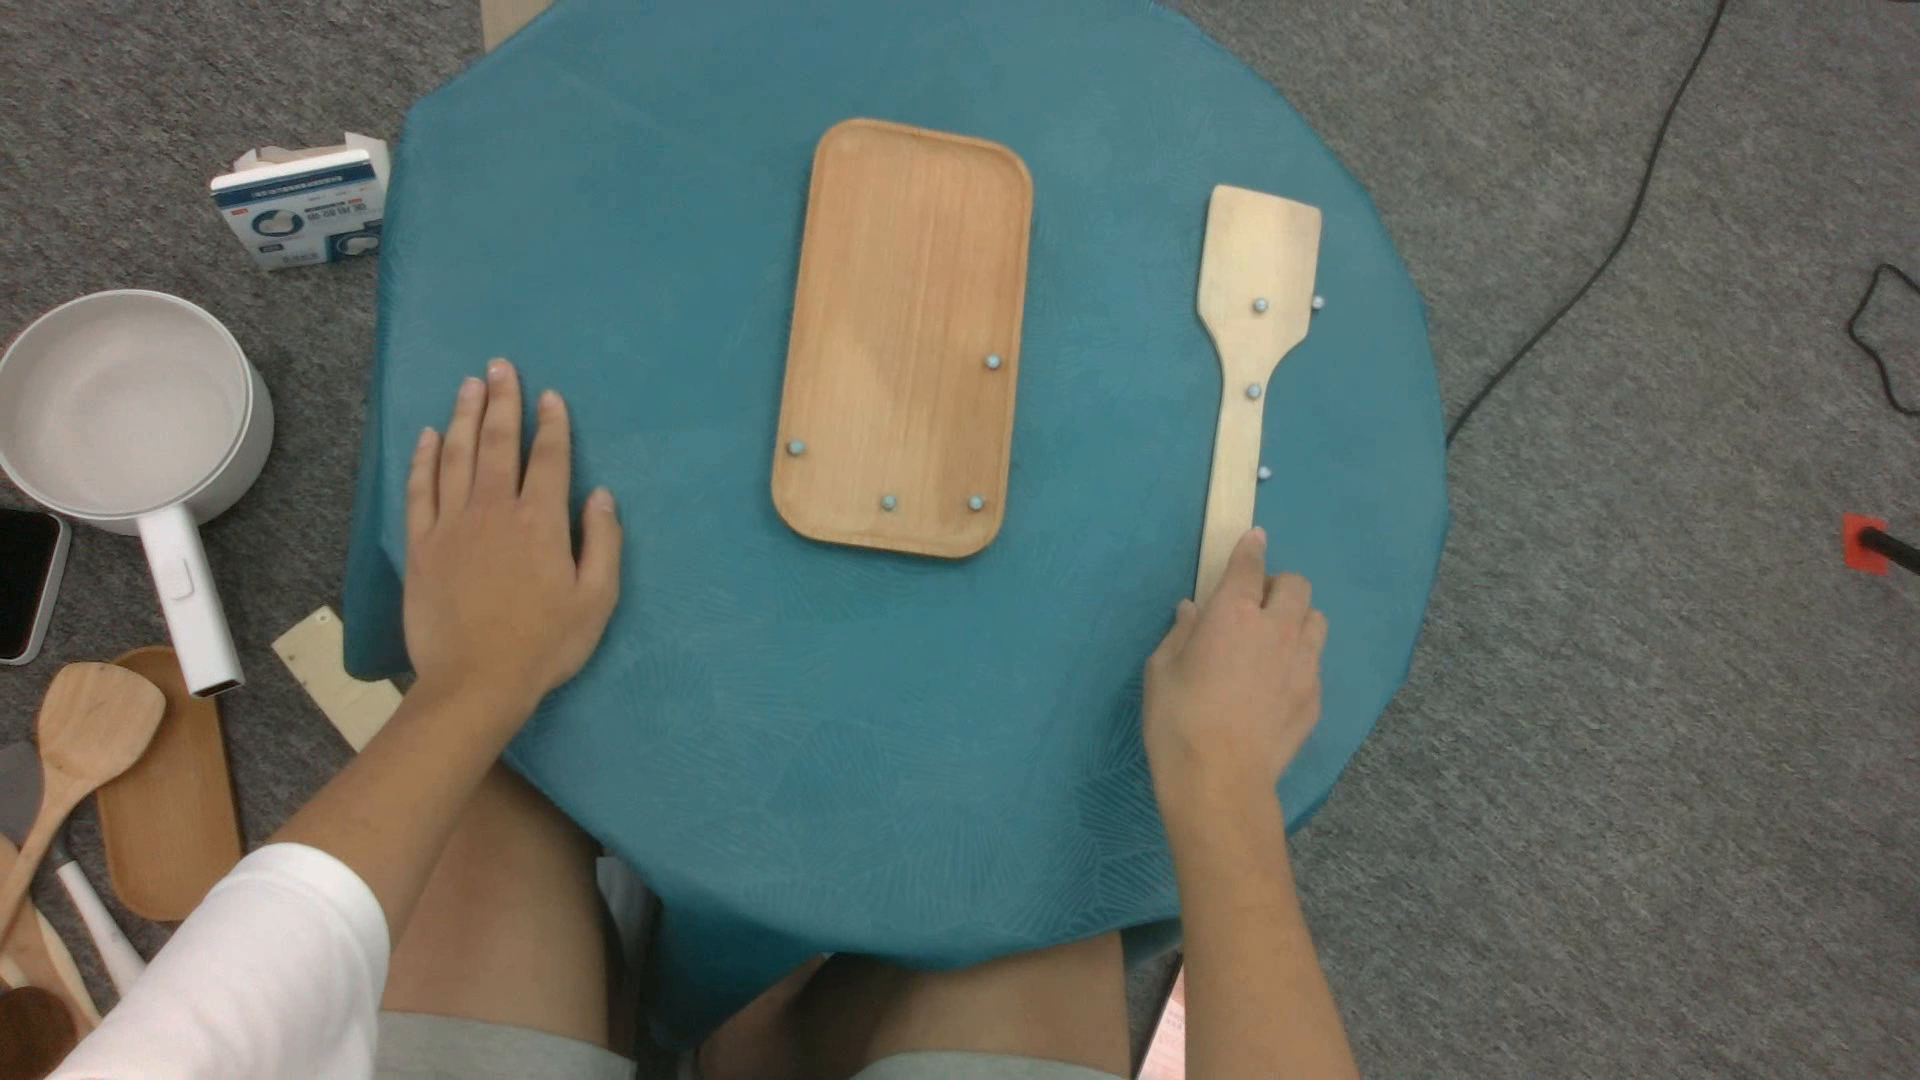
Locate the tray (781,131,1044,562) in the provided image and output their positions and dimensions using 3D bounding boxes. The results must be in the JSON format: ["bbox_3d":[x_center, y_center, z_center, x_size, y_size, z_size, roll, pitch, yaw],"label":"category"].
[{"bbox_3d":[-0.025,-0.113,0.784,0.130,0.023,0.251,9,74,-9],"label":"tray"}]

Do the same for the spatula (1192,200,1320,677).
[{"bbox_3d":[0.166,-0.063,0.806,0.072,0.010,0.294,11,74,-7],"label":"spatula"}]
